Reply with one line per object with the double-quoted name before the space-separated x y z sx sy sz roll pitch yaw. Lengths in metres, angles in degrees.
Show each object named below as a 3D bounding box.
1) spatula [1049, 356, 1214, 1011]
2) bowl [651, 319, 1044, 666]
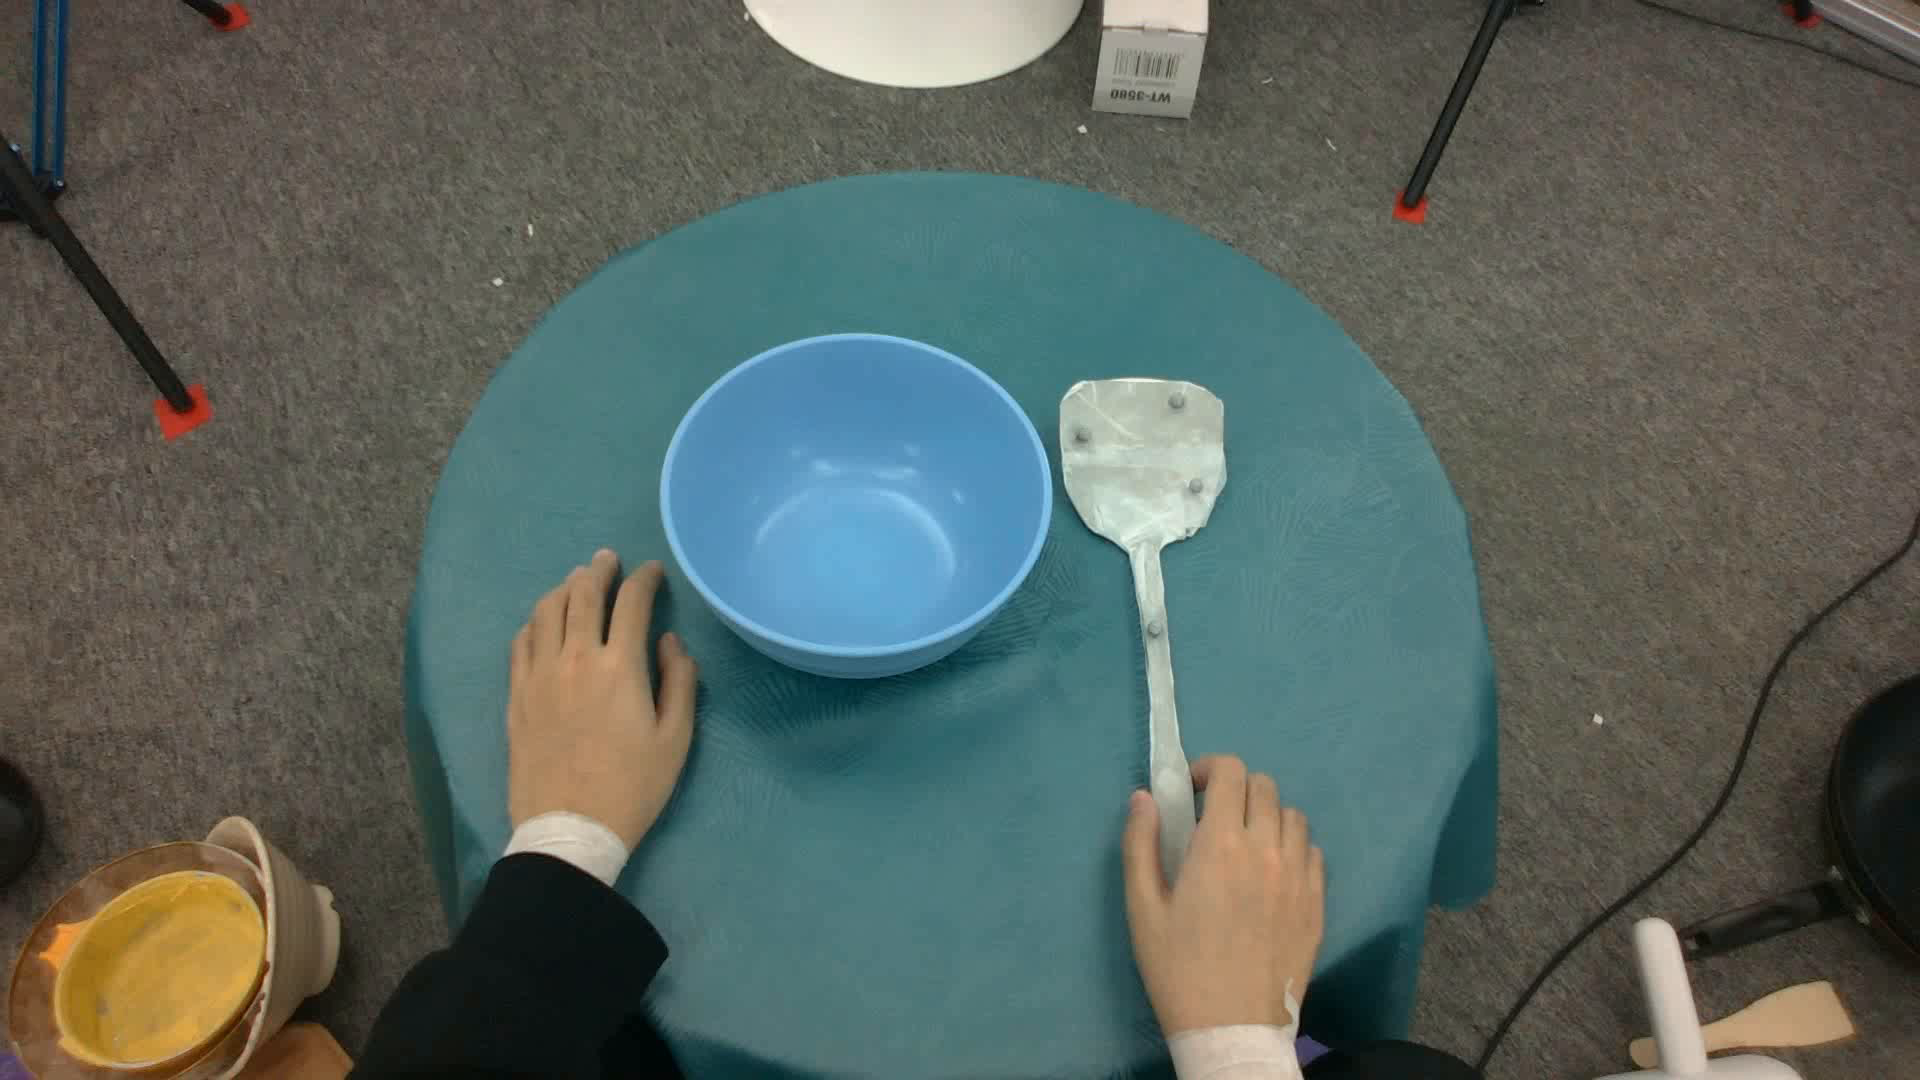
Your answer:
"spatula" 0.098 0.058 0.731 0.099 0.044 0.366 4 57 -5
"bowl" -0.059 -0.012 0.728 0.196 0.095 0.197 3 57 -5
